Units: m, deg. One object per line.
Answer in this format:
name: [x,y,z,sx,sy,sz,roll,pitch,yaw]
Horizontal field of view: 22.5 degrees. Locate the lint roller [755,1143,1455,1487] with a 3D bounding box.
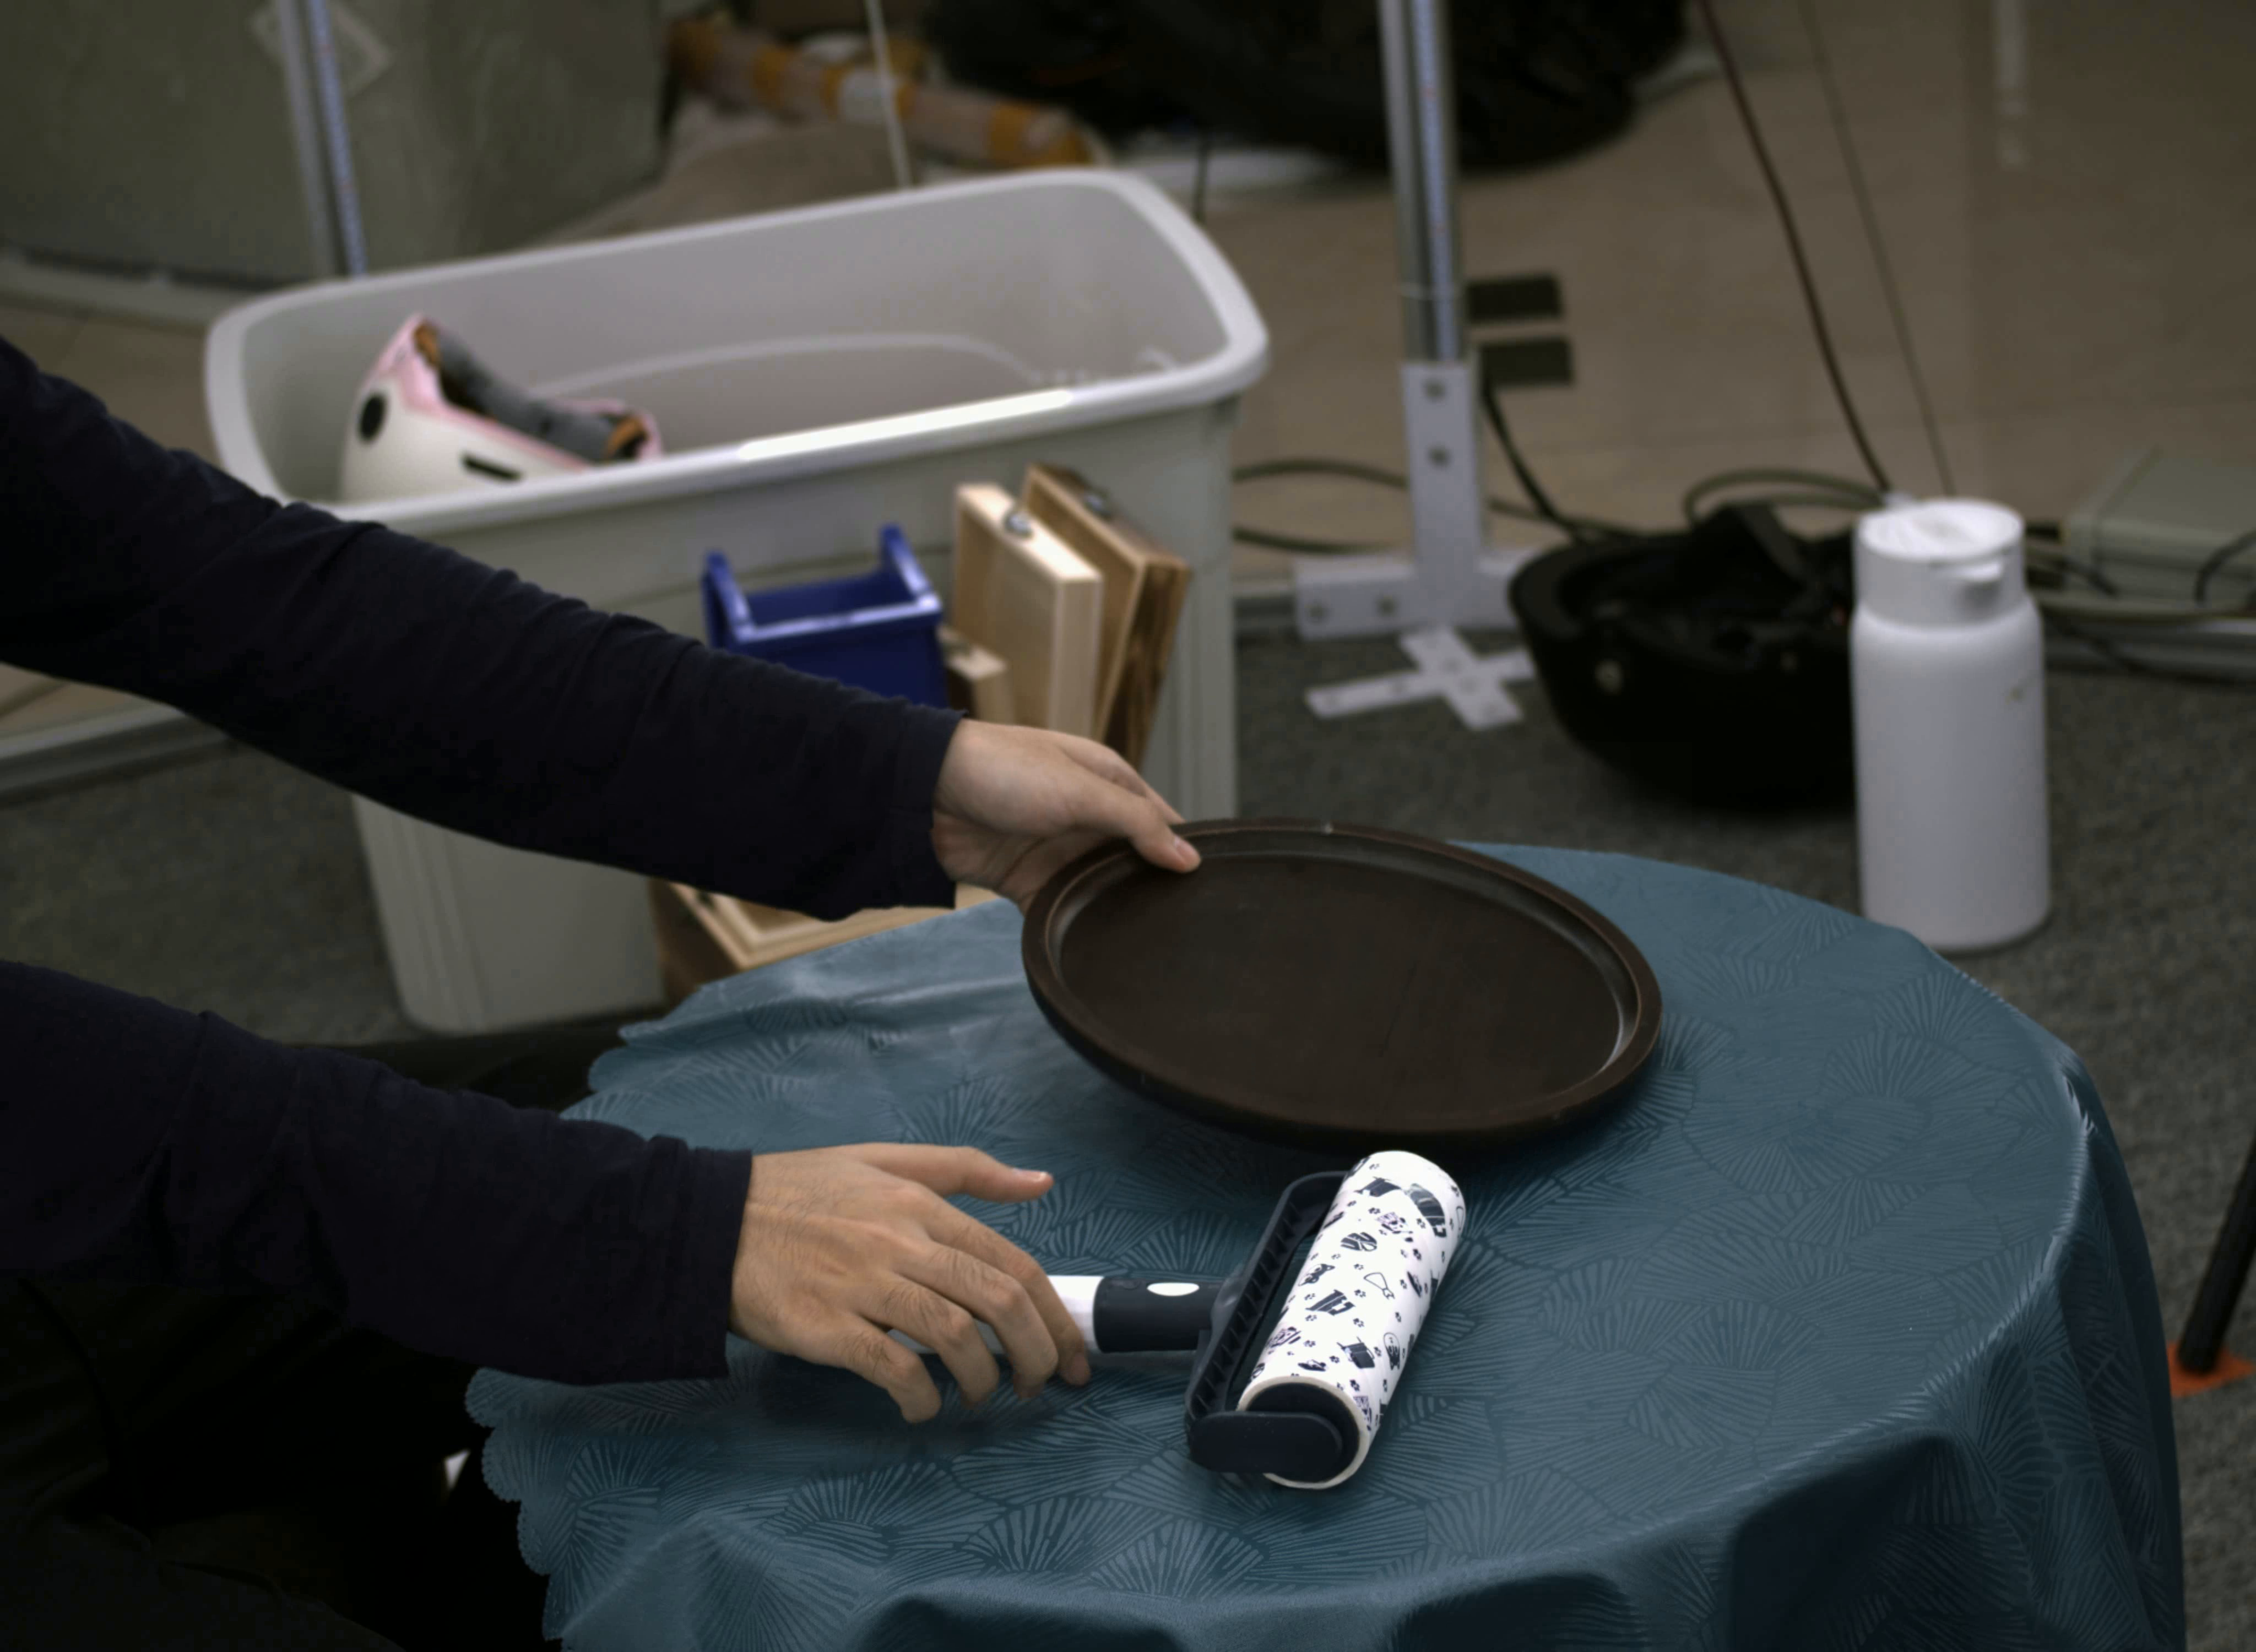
lint roller: [-0.019,0.174,2.031,0.246,0.051,0.174,-1,26,17]

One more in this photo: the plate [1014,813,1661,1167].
plate: [0.081,0.063,2.212,0.254,0.029,0.251,4,28,-2]
